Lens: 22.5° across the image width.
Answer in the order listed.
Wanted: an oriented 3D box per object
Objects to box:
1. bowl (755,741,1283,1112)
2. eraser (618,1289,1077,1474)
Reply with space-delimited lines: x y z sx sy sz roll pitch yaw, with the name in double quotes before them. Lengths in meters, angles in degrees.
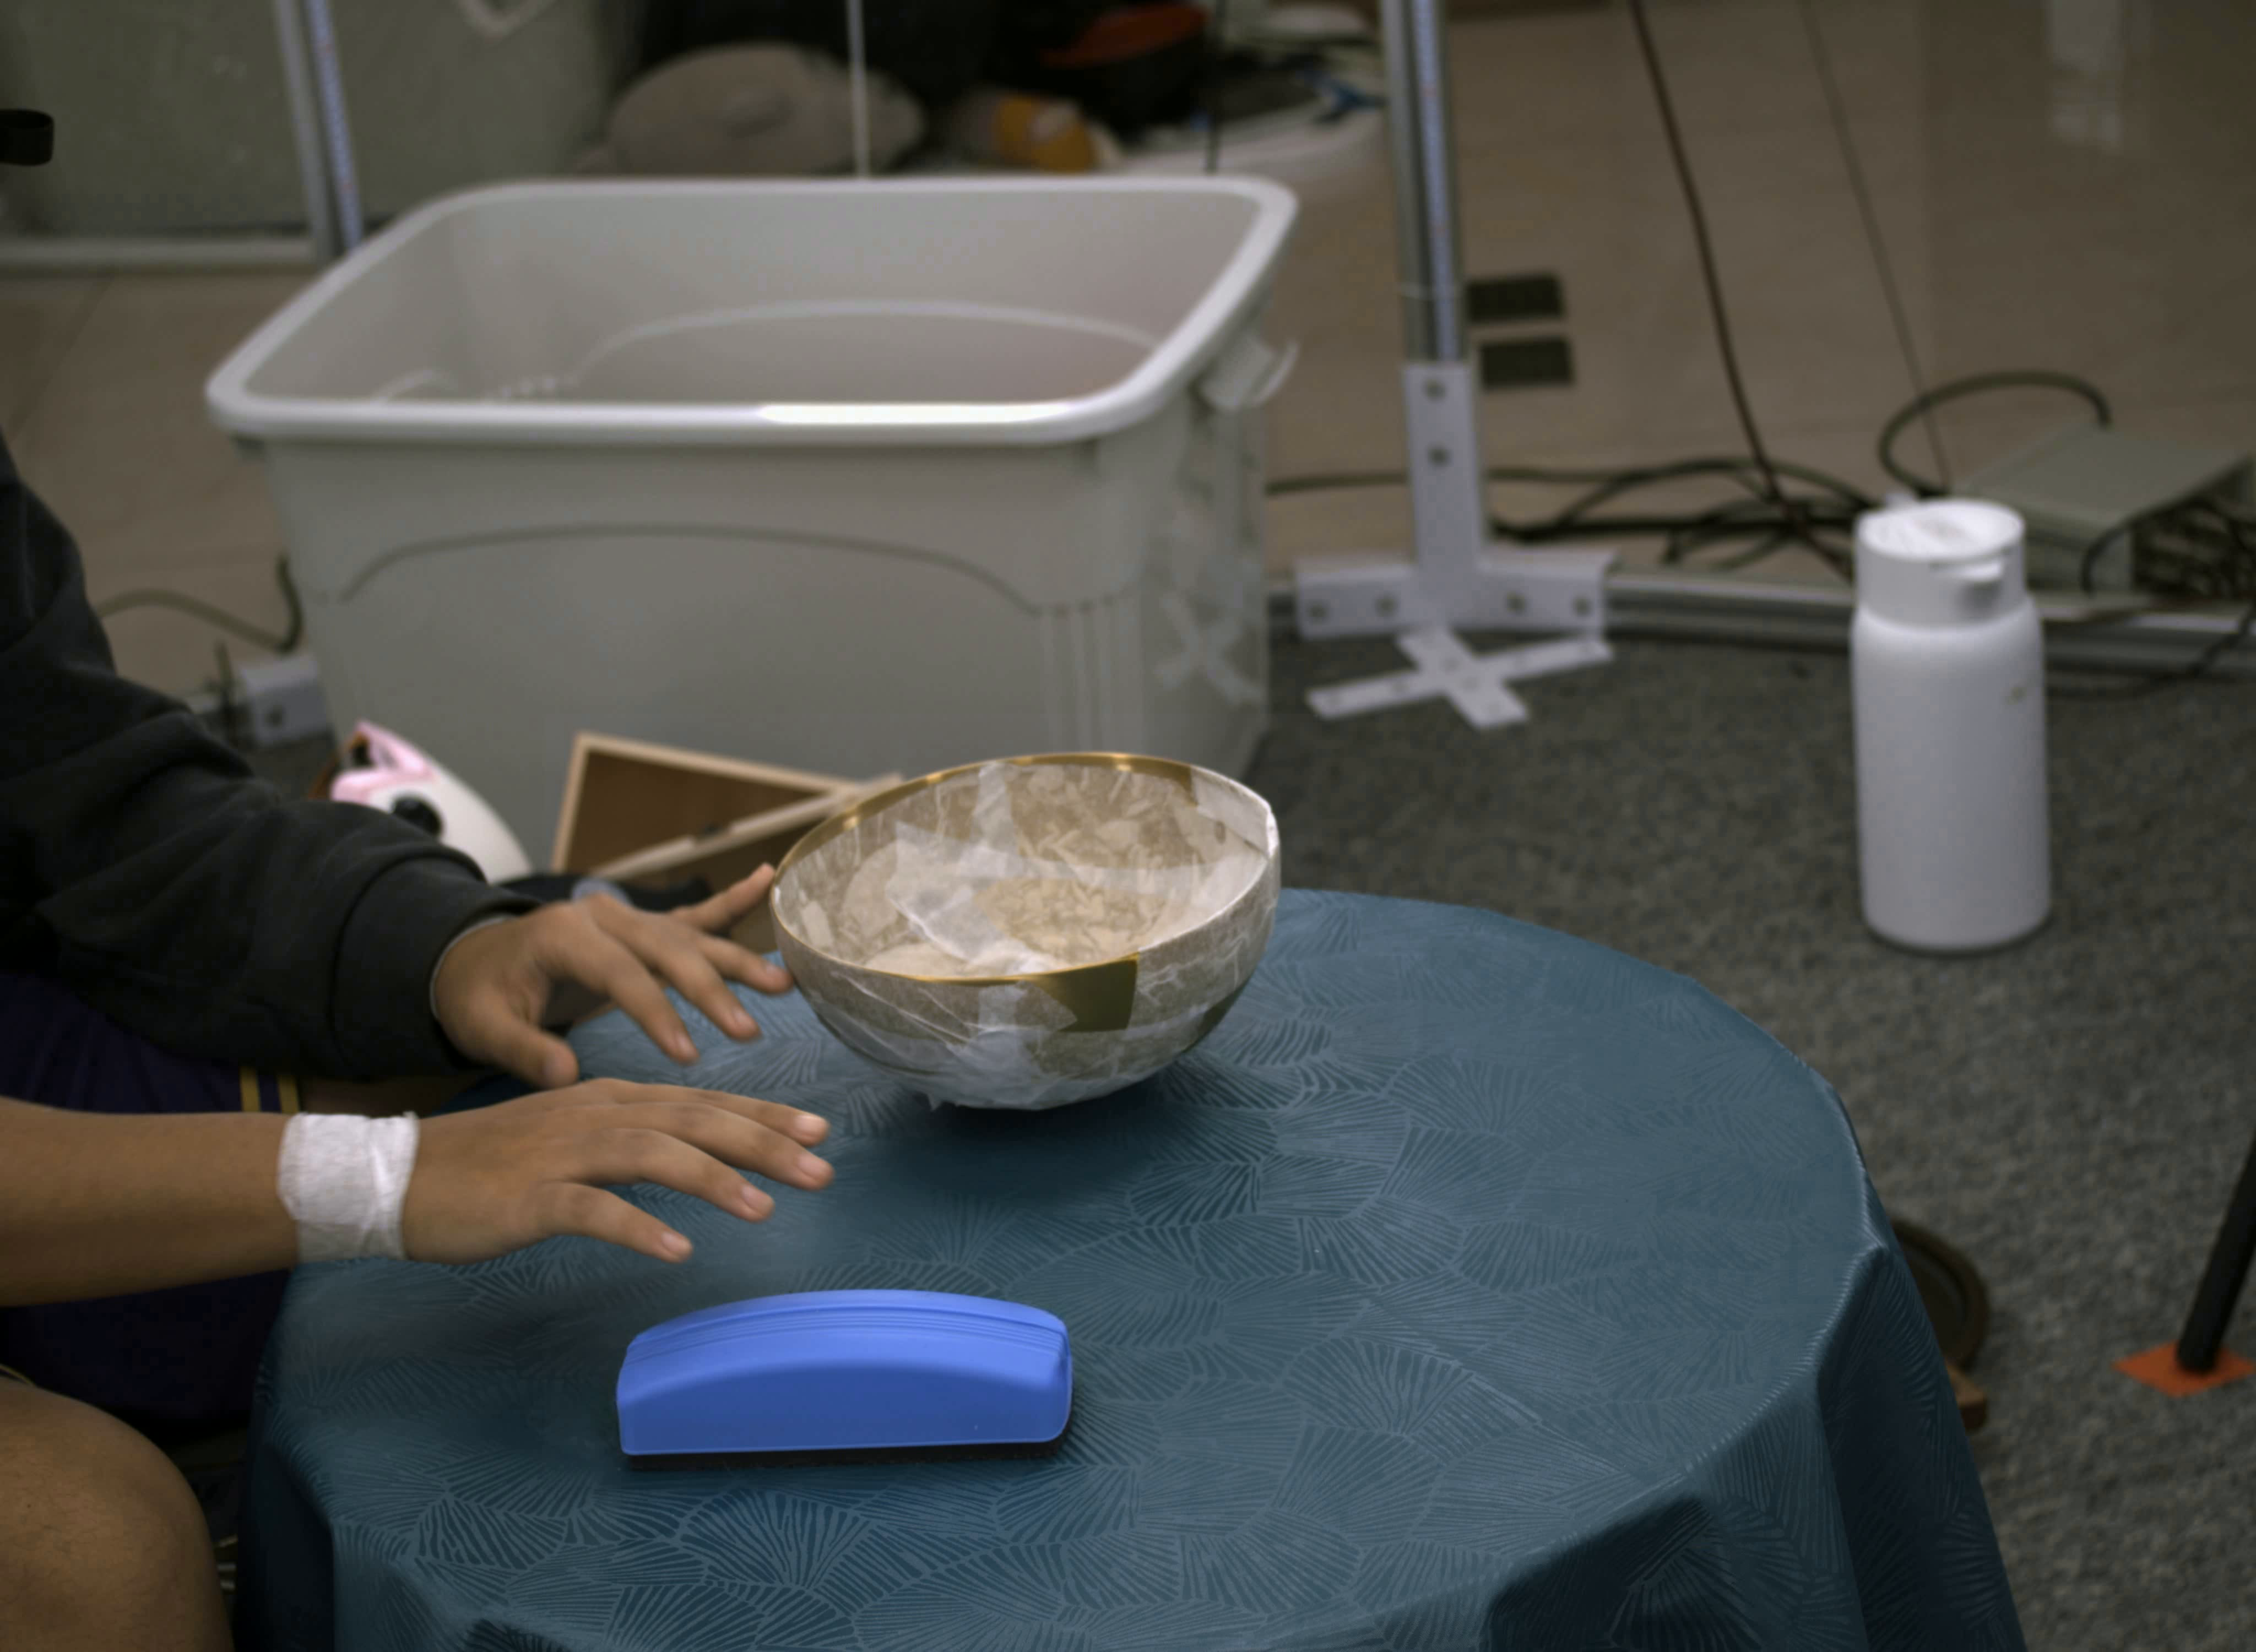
"bowl" -0.039 0.052 2.231 0.214 0.096 0.211 -6 26 3
"eraser" -0.100 0.194 2.001 0.162 0.048 0.053 -4 29 8
